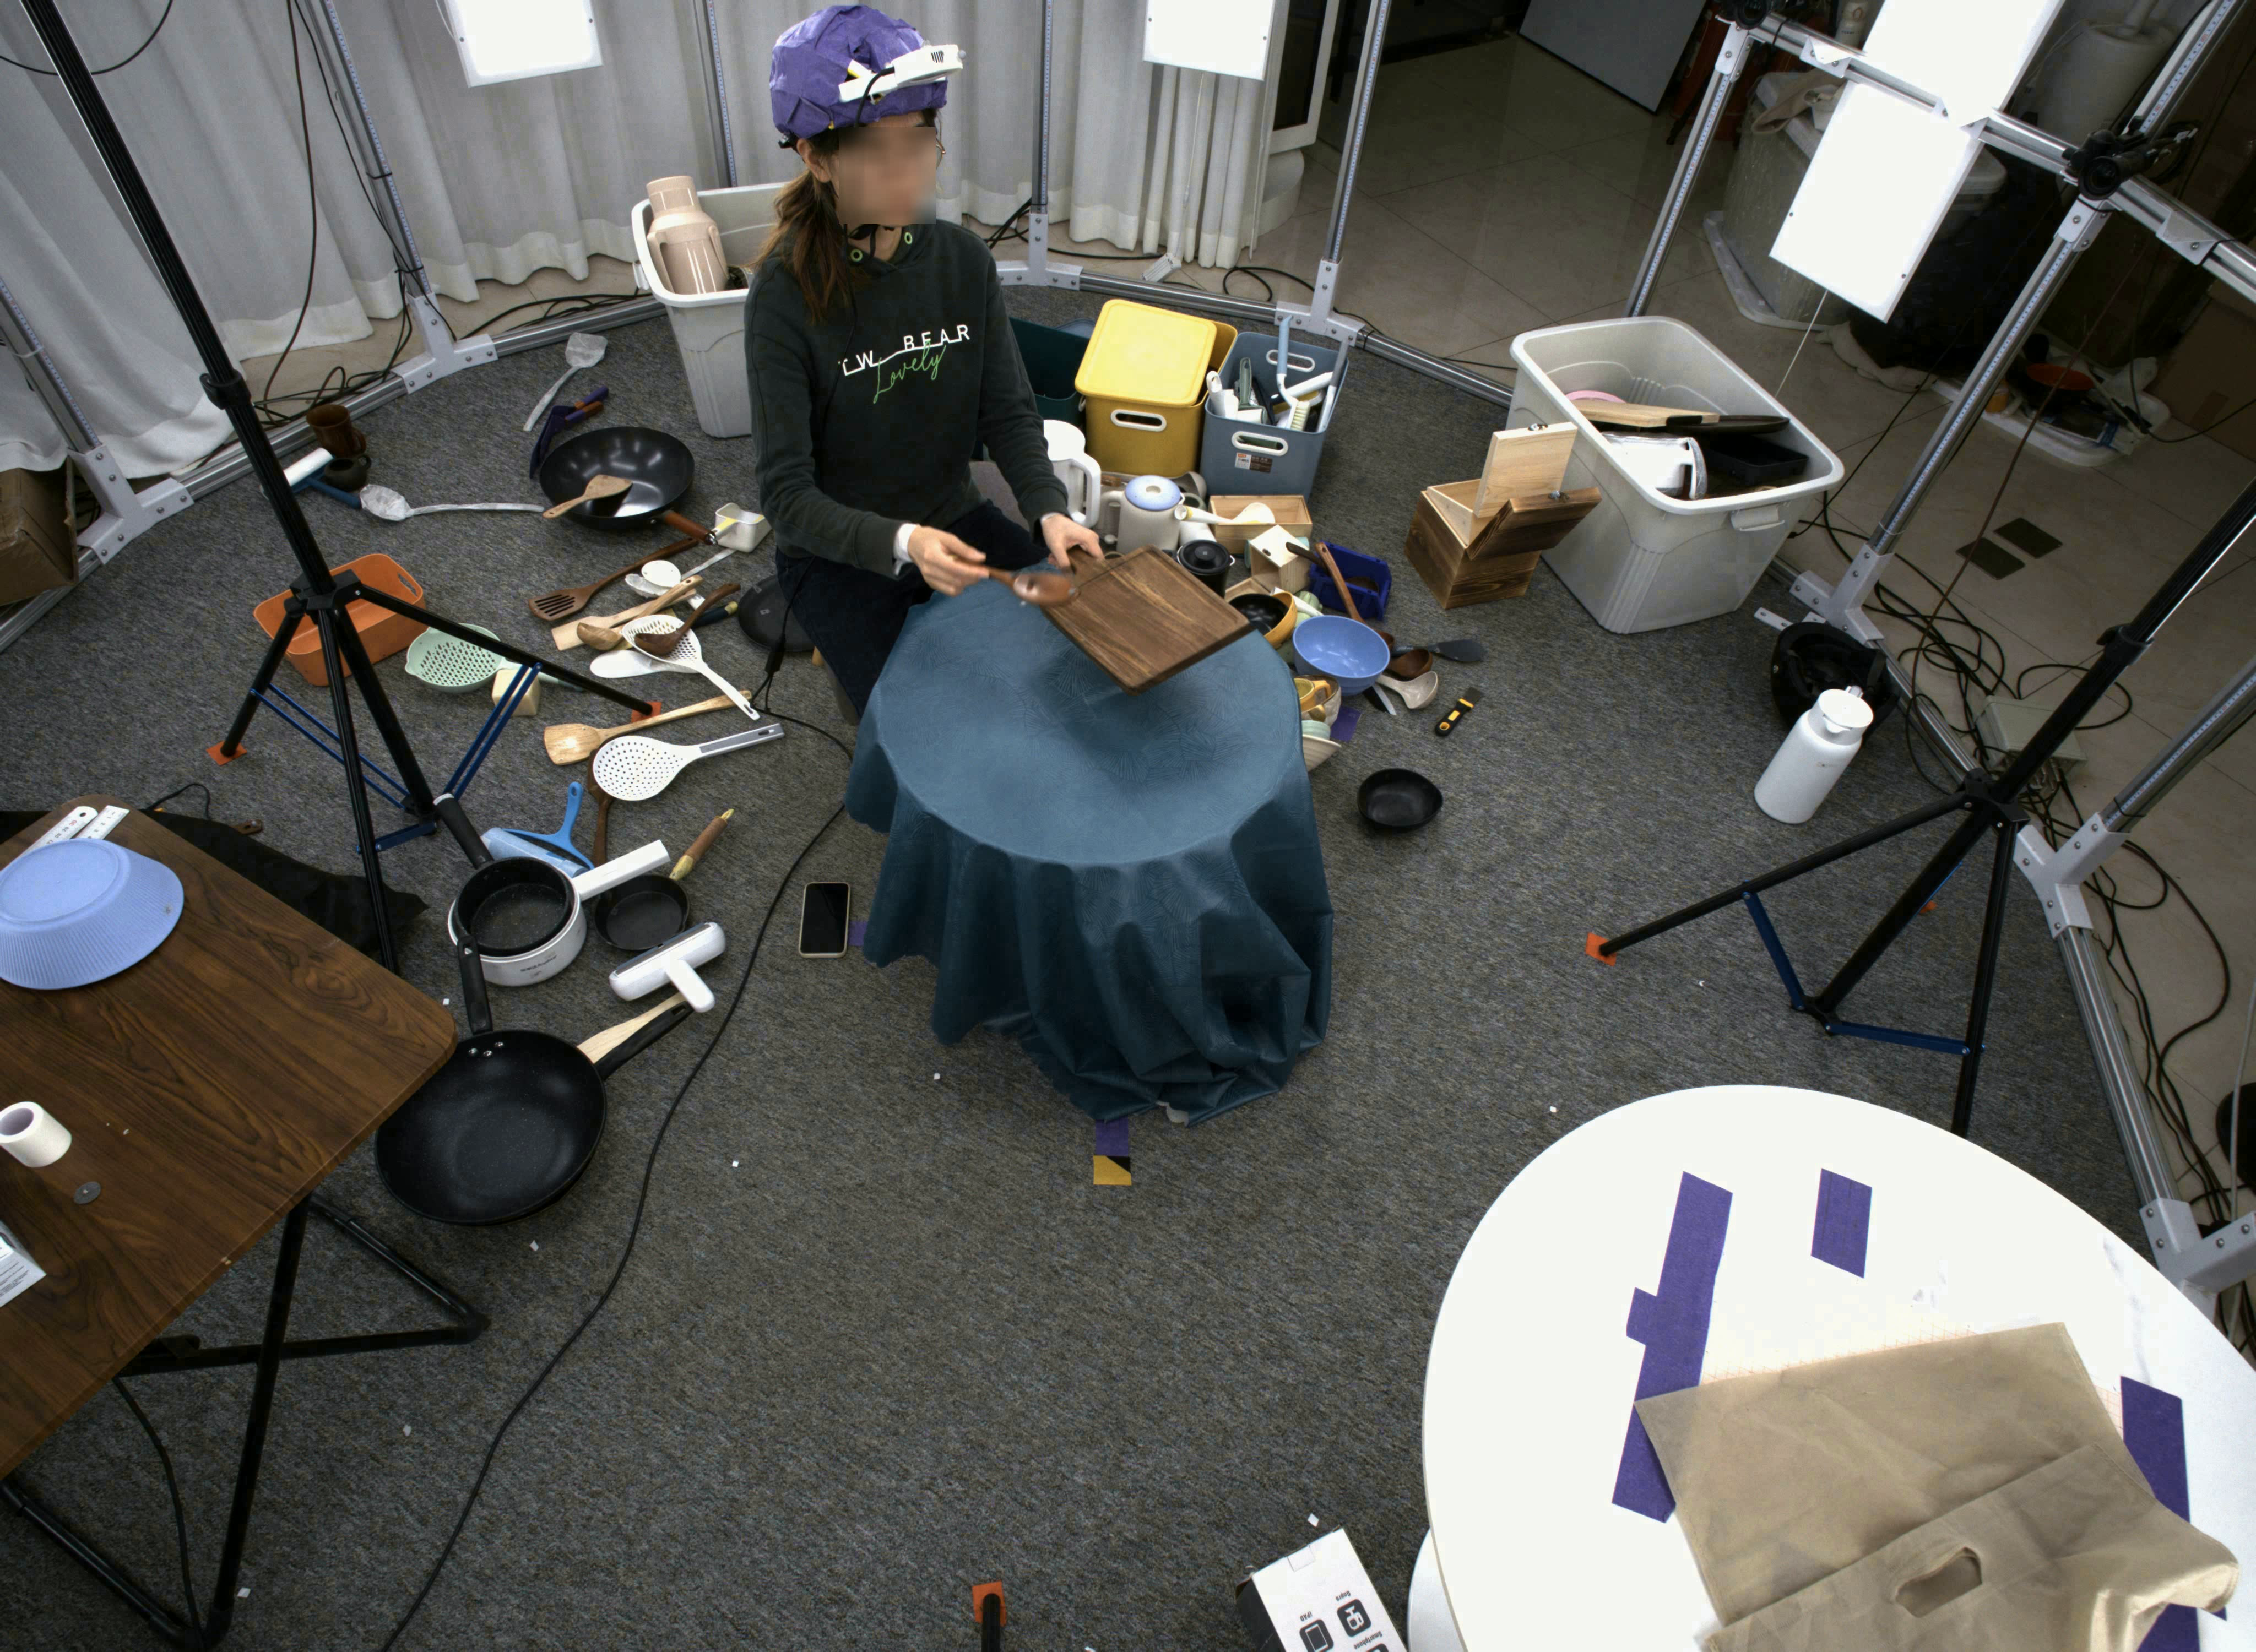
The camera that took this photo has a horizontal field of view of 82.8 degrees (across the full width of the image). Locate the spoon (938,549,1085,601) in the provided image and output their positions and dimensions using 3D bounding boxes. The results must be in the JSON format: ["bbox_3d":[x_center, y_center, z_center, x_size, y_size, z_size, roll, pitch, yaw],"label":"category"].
[{"bbox_3d":[-0.154,-0.326,1.667,0.218,0.017,0.076,19,41,23],"label":"spoon"}]

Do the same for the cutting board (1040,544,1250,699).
[{"bbox_3d":[-0.006,-0.316,1.816,0.202,0.022,0.359,-31,47,-14],"label":"cutting board"}]
